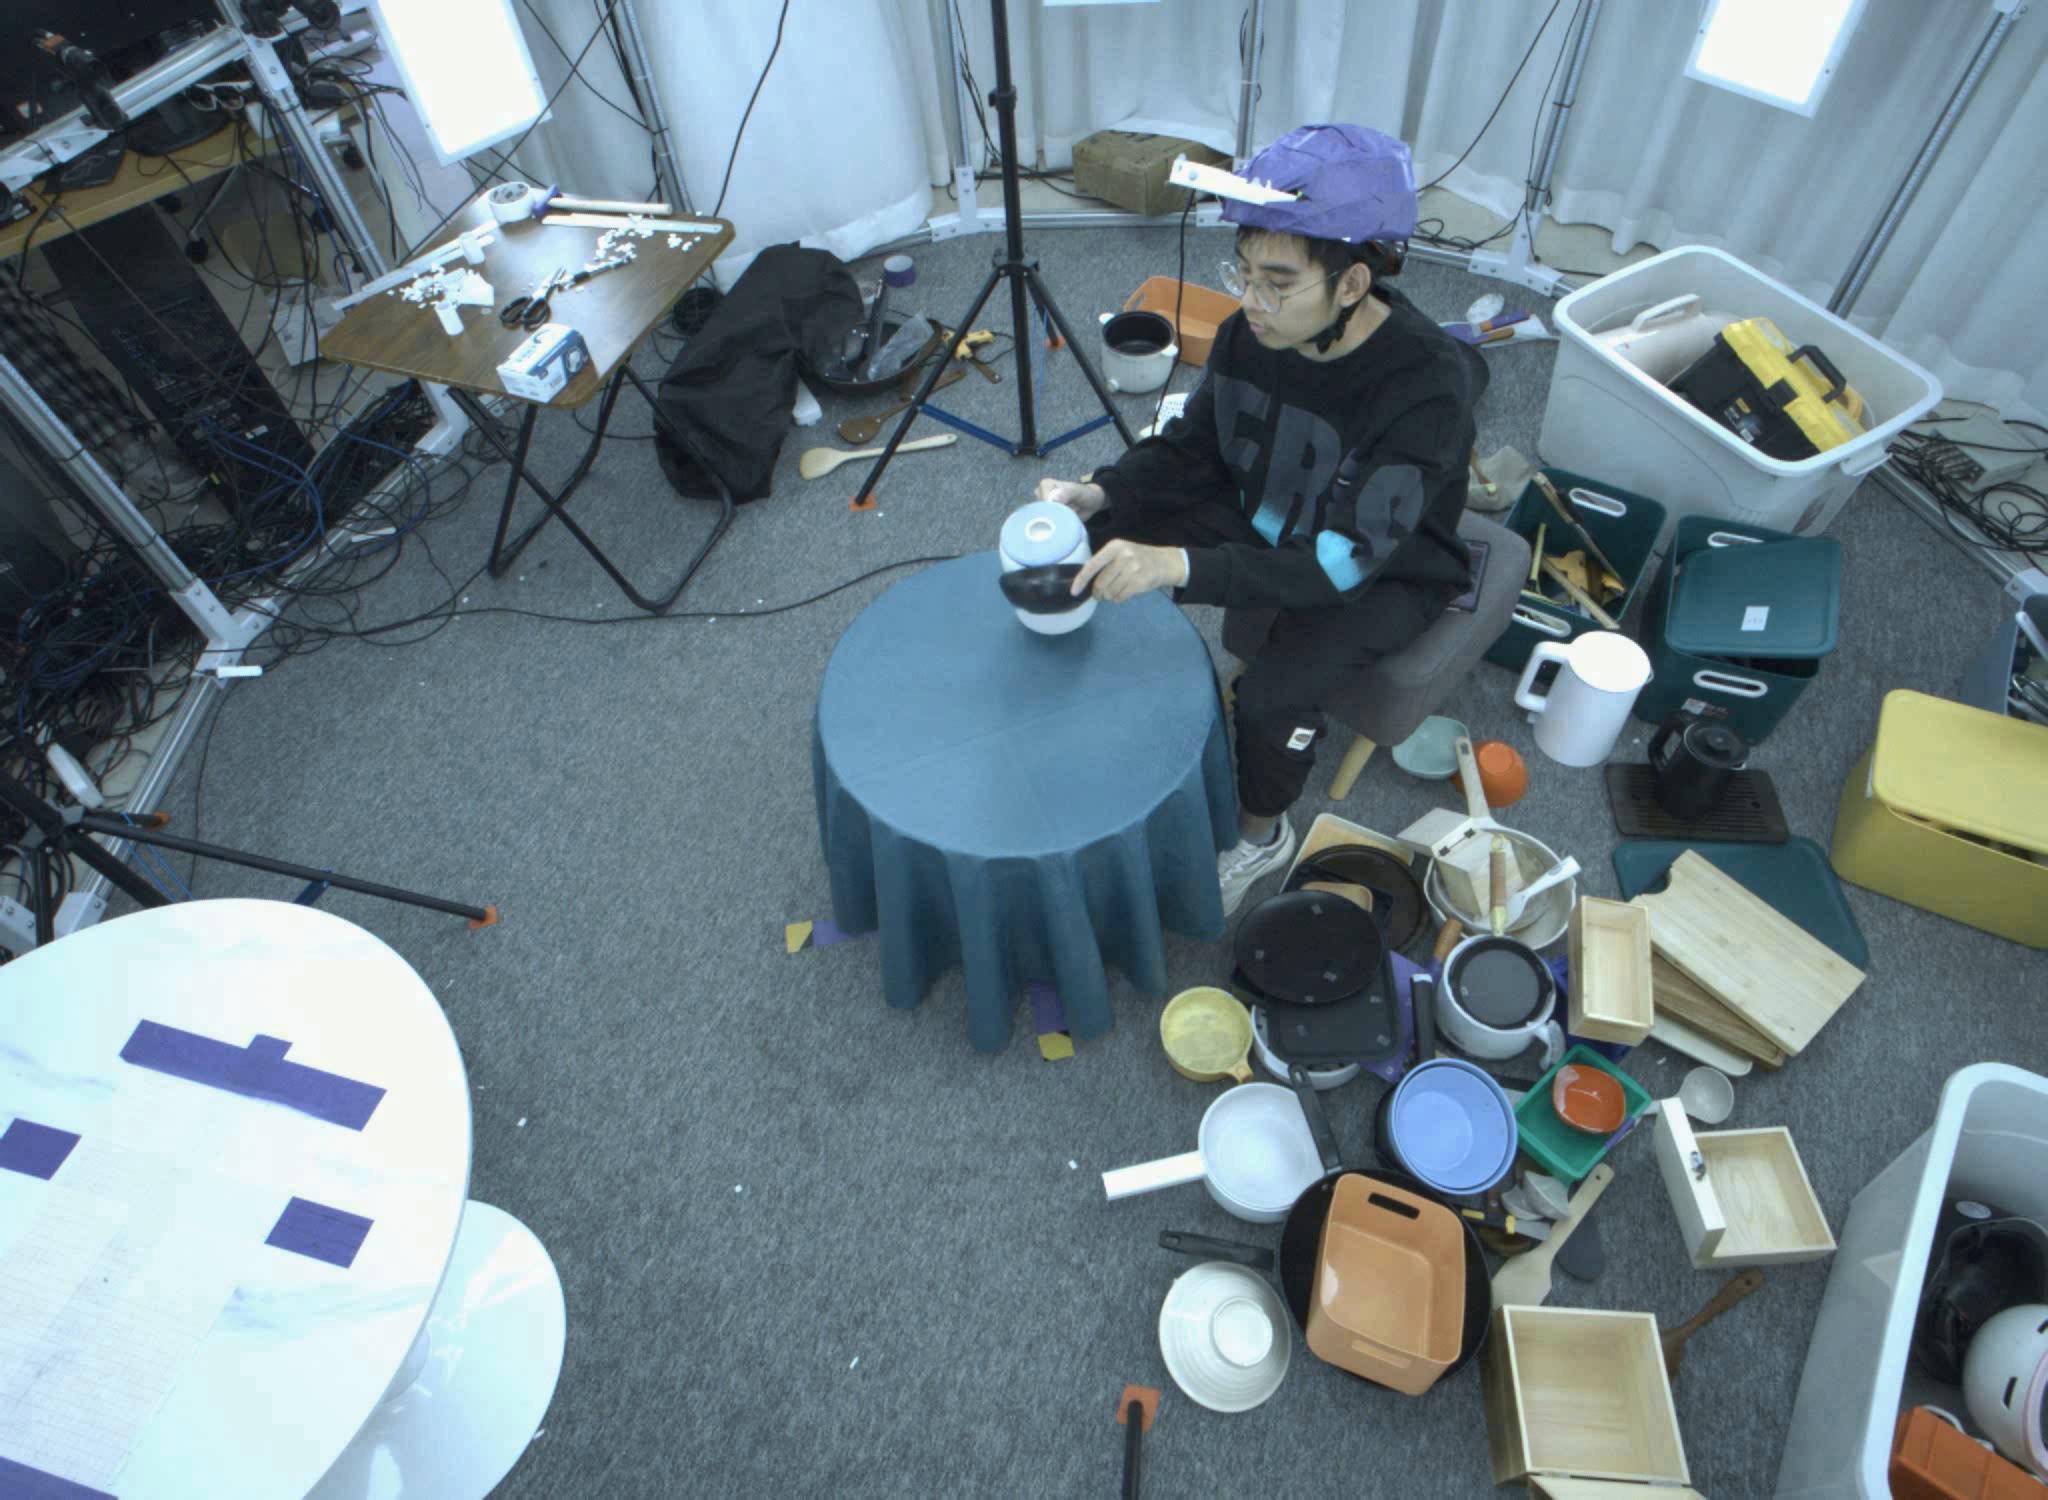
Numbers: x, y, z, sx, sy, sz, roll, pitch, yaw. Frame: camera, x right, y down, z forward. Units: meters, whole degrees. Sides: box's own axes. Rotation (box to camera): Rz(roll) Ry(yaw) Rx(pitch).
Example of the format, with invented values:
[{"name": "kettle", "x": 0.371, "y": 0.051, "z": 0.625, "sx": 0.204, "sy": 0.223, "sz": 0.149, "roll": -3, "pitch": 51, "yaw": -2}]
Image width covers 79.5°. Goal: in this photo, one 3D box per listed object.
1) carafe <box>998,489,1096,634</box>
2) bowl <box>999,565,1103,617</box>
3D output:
[{"name": "carafe", "x": 0.039, "y": -0.291, "z": 1.834, "sx": 0.131, "sy": 0.185, "sz": 0.190, "roll": 5, "pitch": 59, "yaw": 11}, {"name": "bowl", "x": 0.037, "y": -0.209, "z": 1.635, "sx": 0.140, "sy": 0.050, "sz": 0.139, "roll": -3, "pitch": 19, "yaw": 2}]
